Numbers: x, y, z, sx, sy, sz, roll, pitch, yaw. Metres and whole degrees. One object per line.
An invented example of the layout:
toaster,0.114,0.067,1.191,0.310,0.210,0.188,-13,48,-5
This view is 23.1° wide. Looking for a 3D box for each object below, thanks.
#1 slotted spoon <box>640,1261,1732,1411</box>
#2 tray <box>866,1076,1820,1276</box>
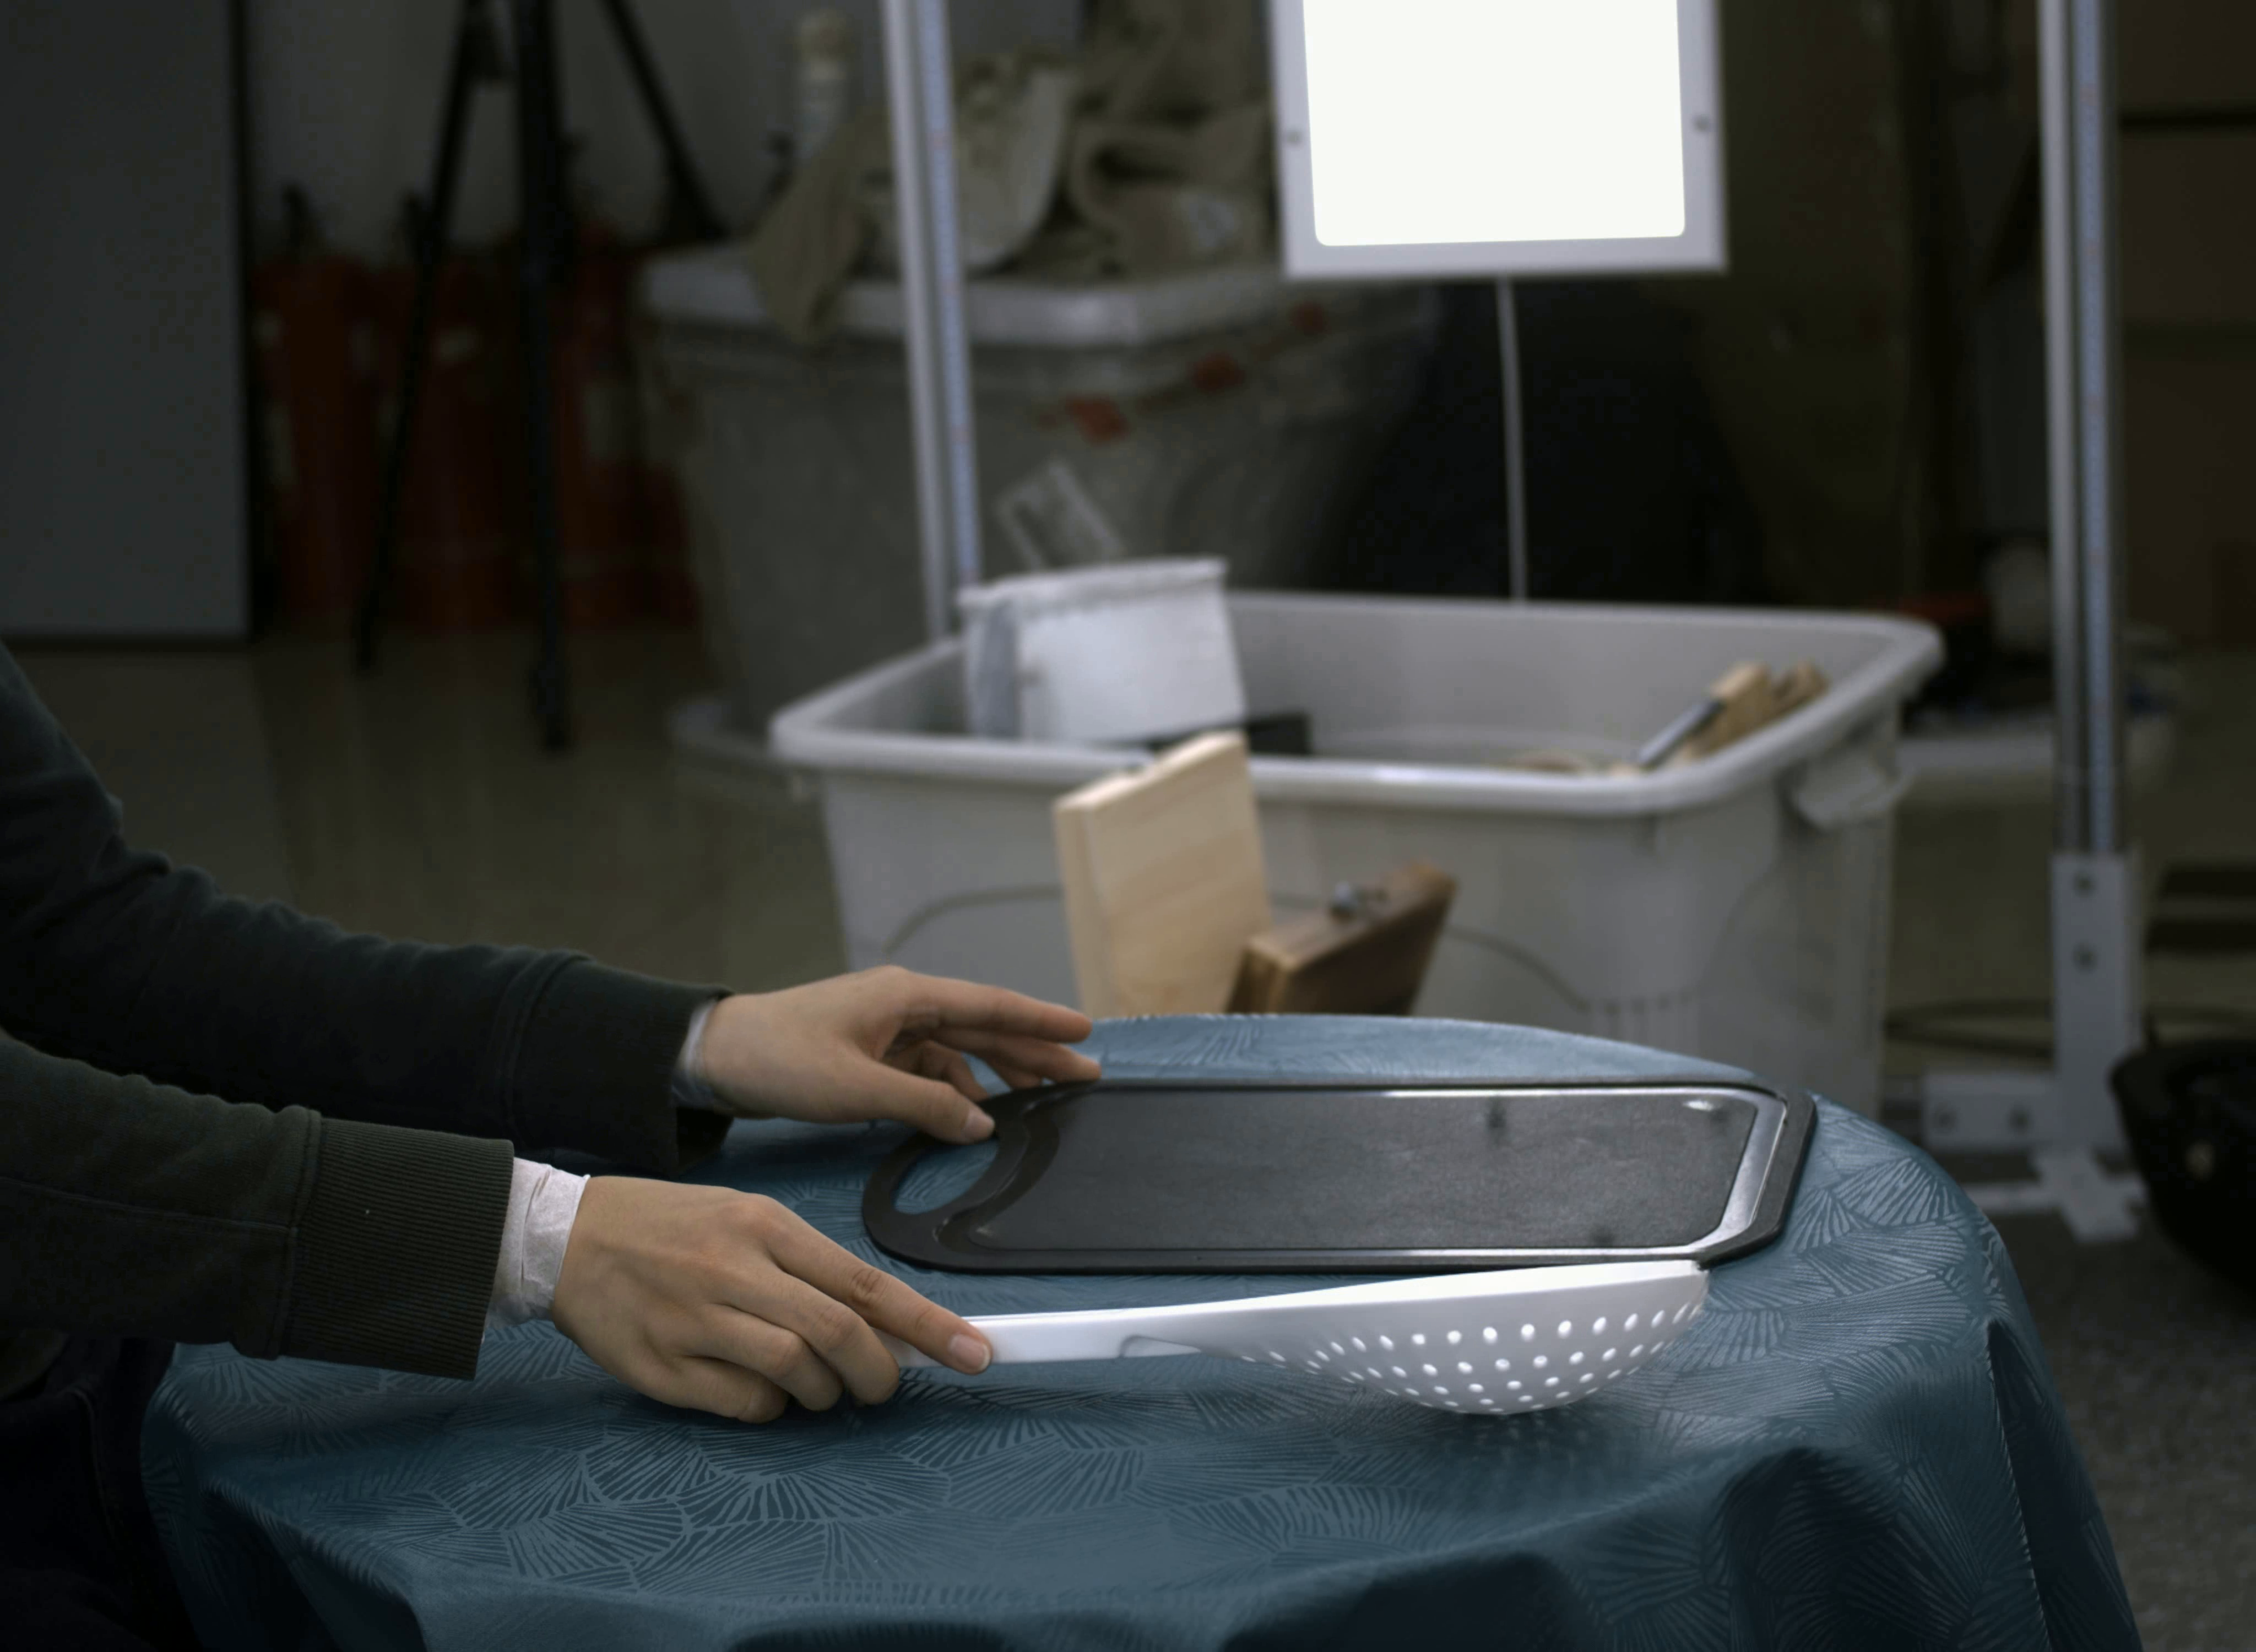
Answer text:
slotted spoon,0.013,0.152,1.684,0.354,0.046,0.134,-1,-3,22
tray,0.071,0.117,1.894,0.328,0.010,0.208,-1,14,15
